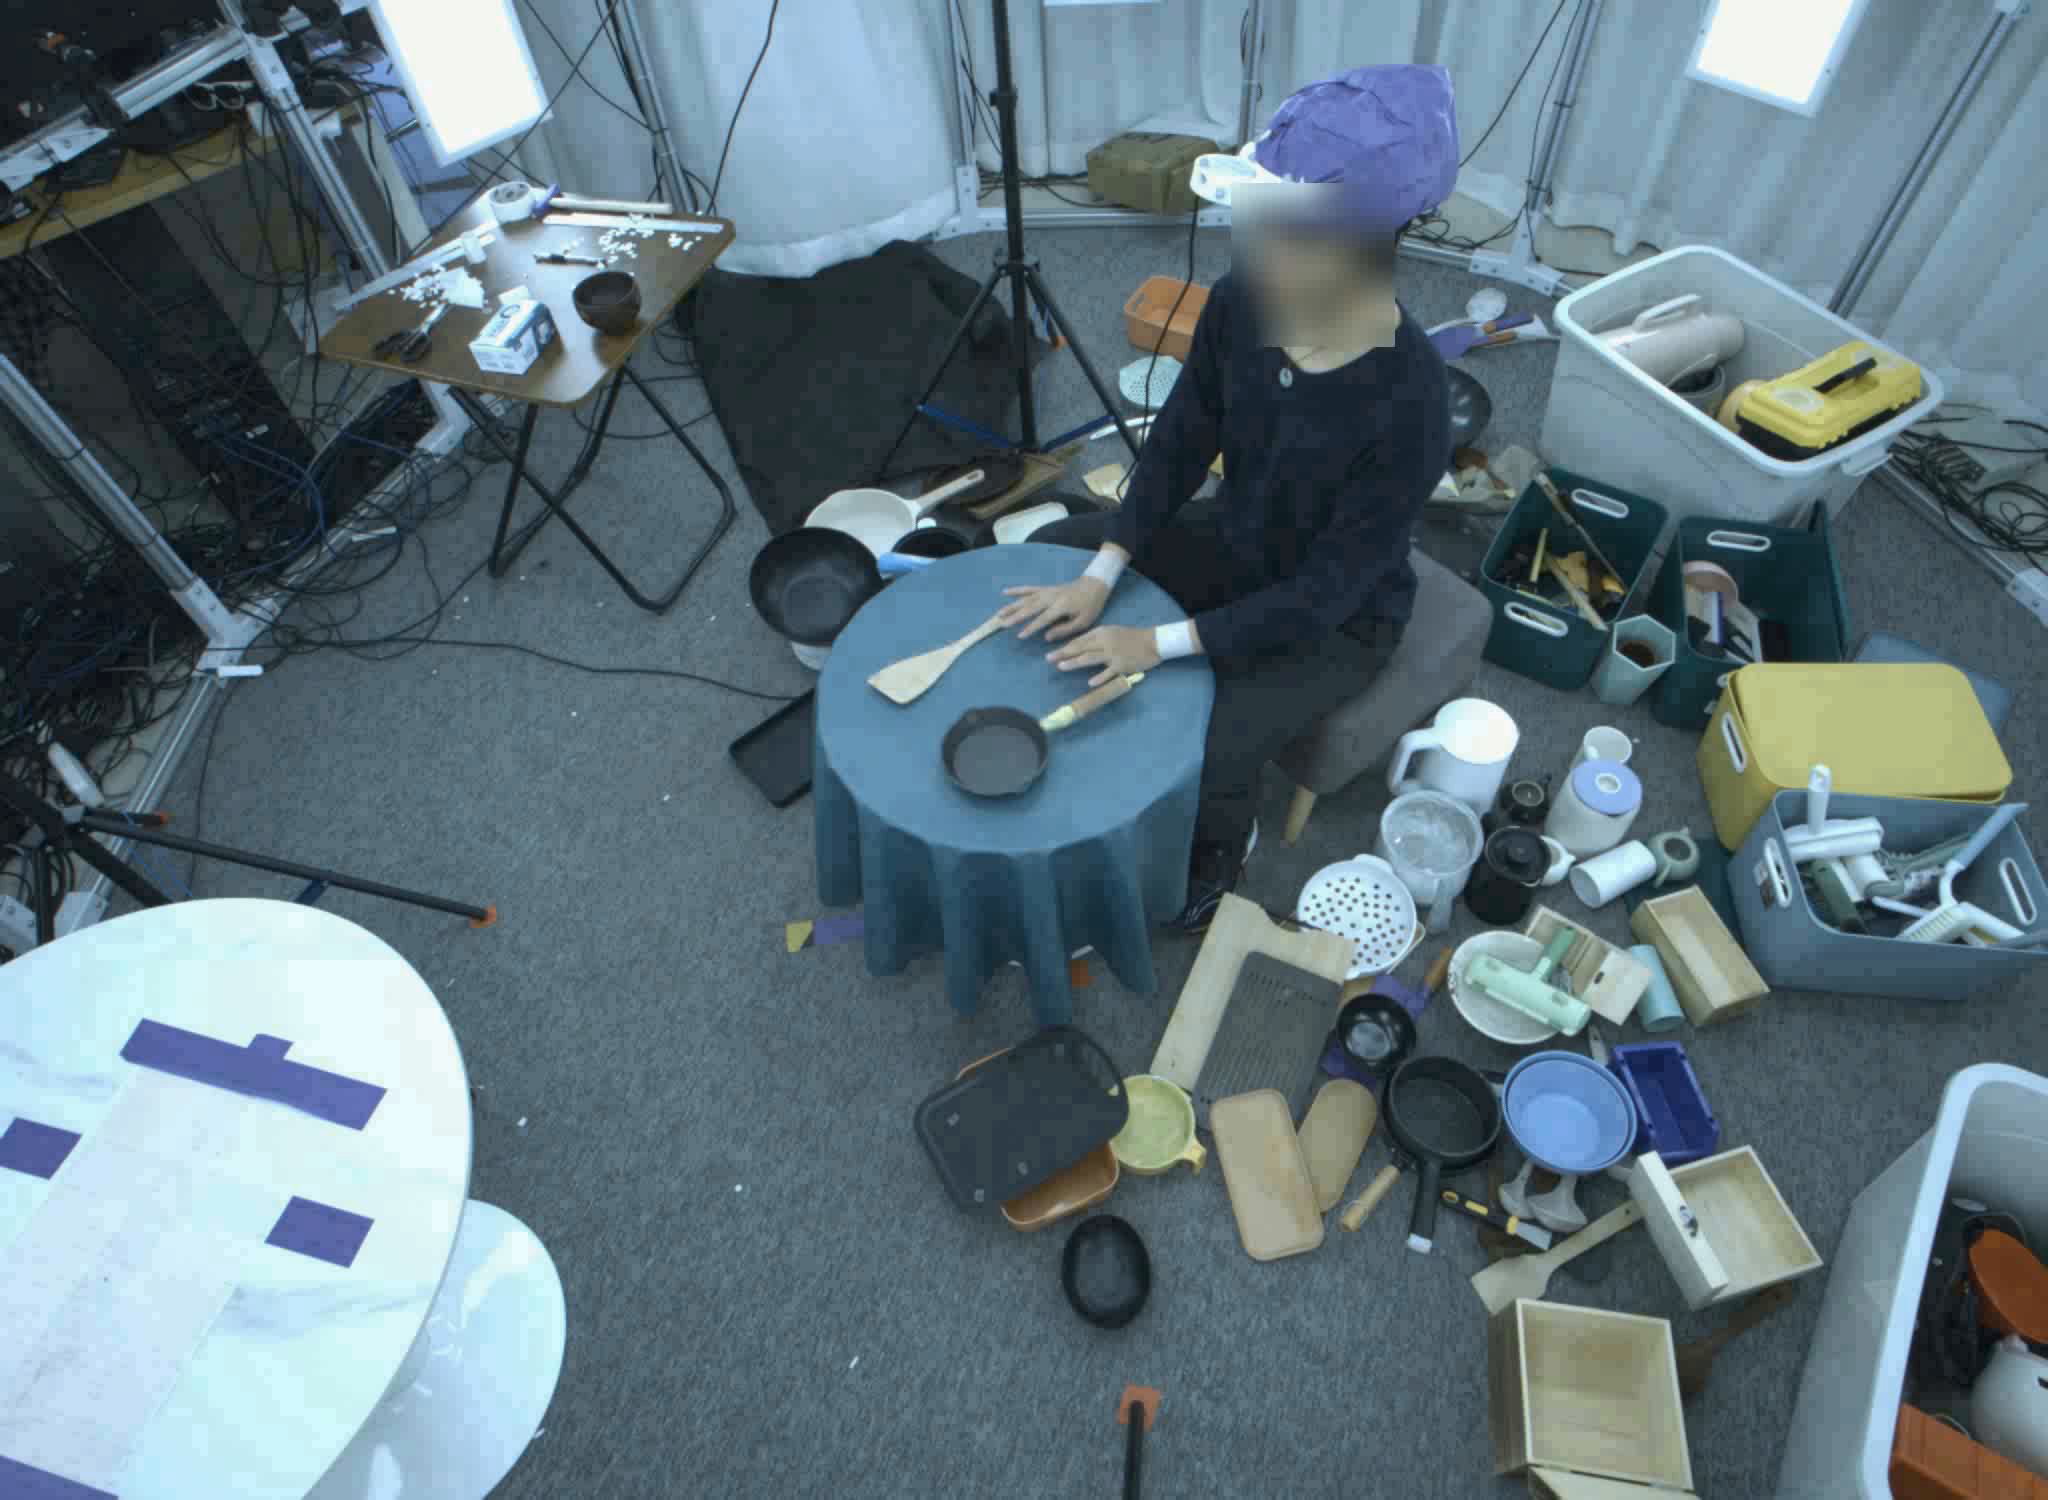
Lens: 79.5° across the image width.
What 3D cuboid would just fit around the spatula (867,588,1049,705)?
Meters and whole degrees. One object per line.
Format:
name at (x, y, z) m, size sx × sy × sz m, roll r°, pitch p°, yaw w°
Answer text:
spatula at (-0.091, -0.167, 1.899) m, size 0.330 × 0.017 × 0.078 m, roll -35°, pitch 62°, yaw -20°

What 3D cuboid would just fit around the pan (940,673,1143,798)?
pan at (0.033, -0.032, 1.778) m, size 0.326 × 0.050 × 0.166 m, roll -25°, pitch 58°, yaw -13°
